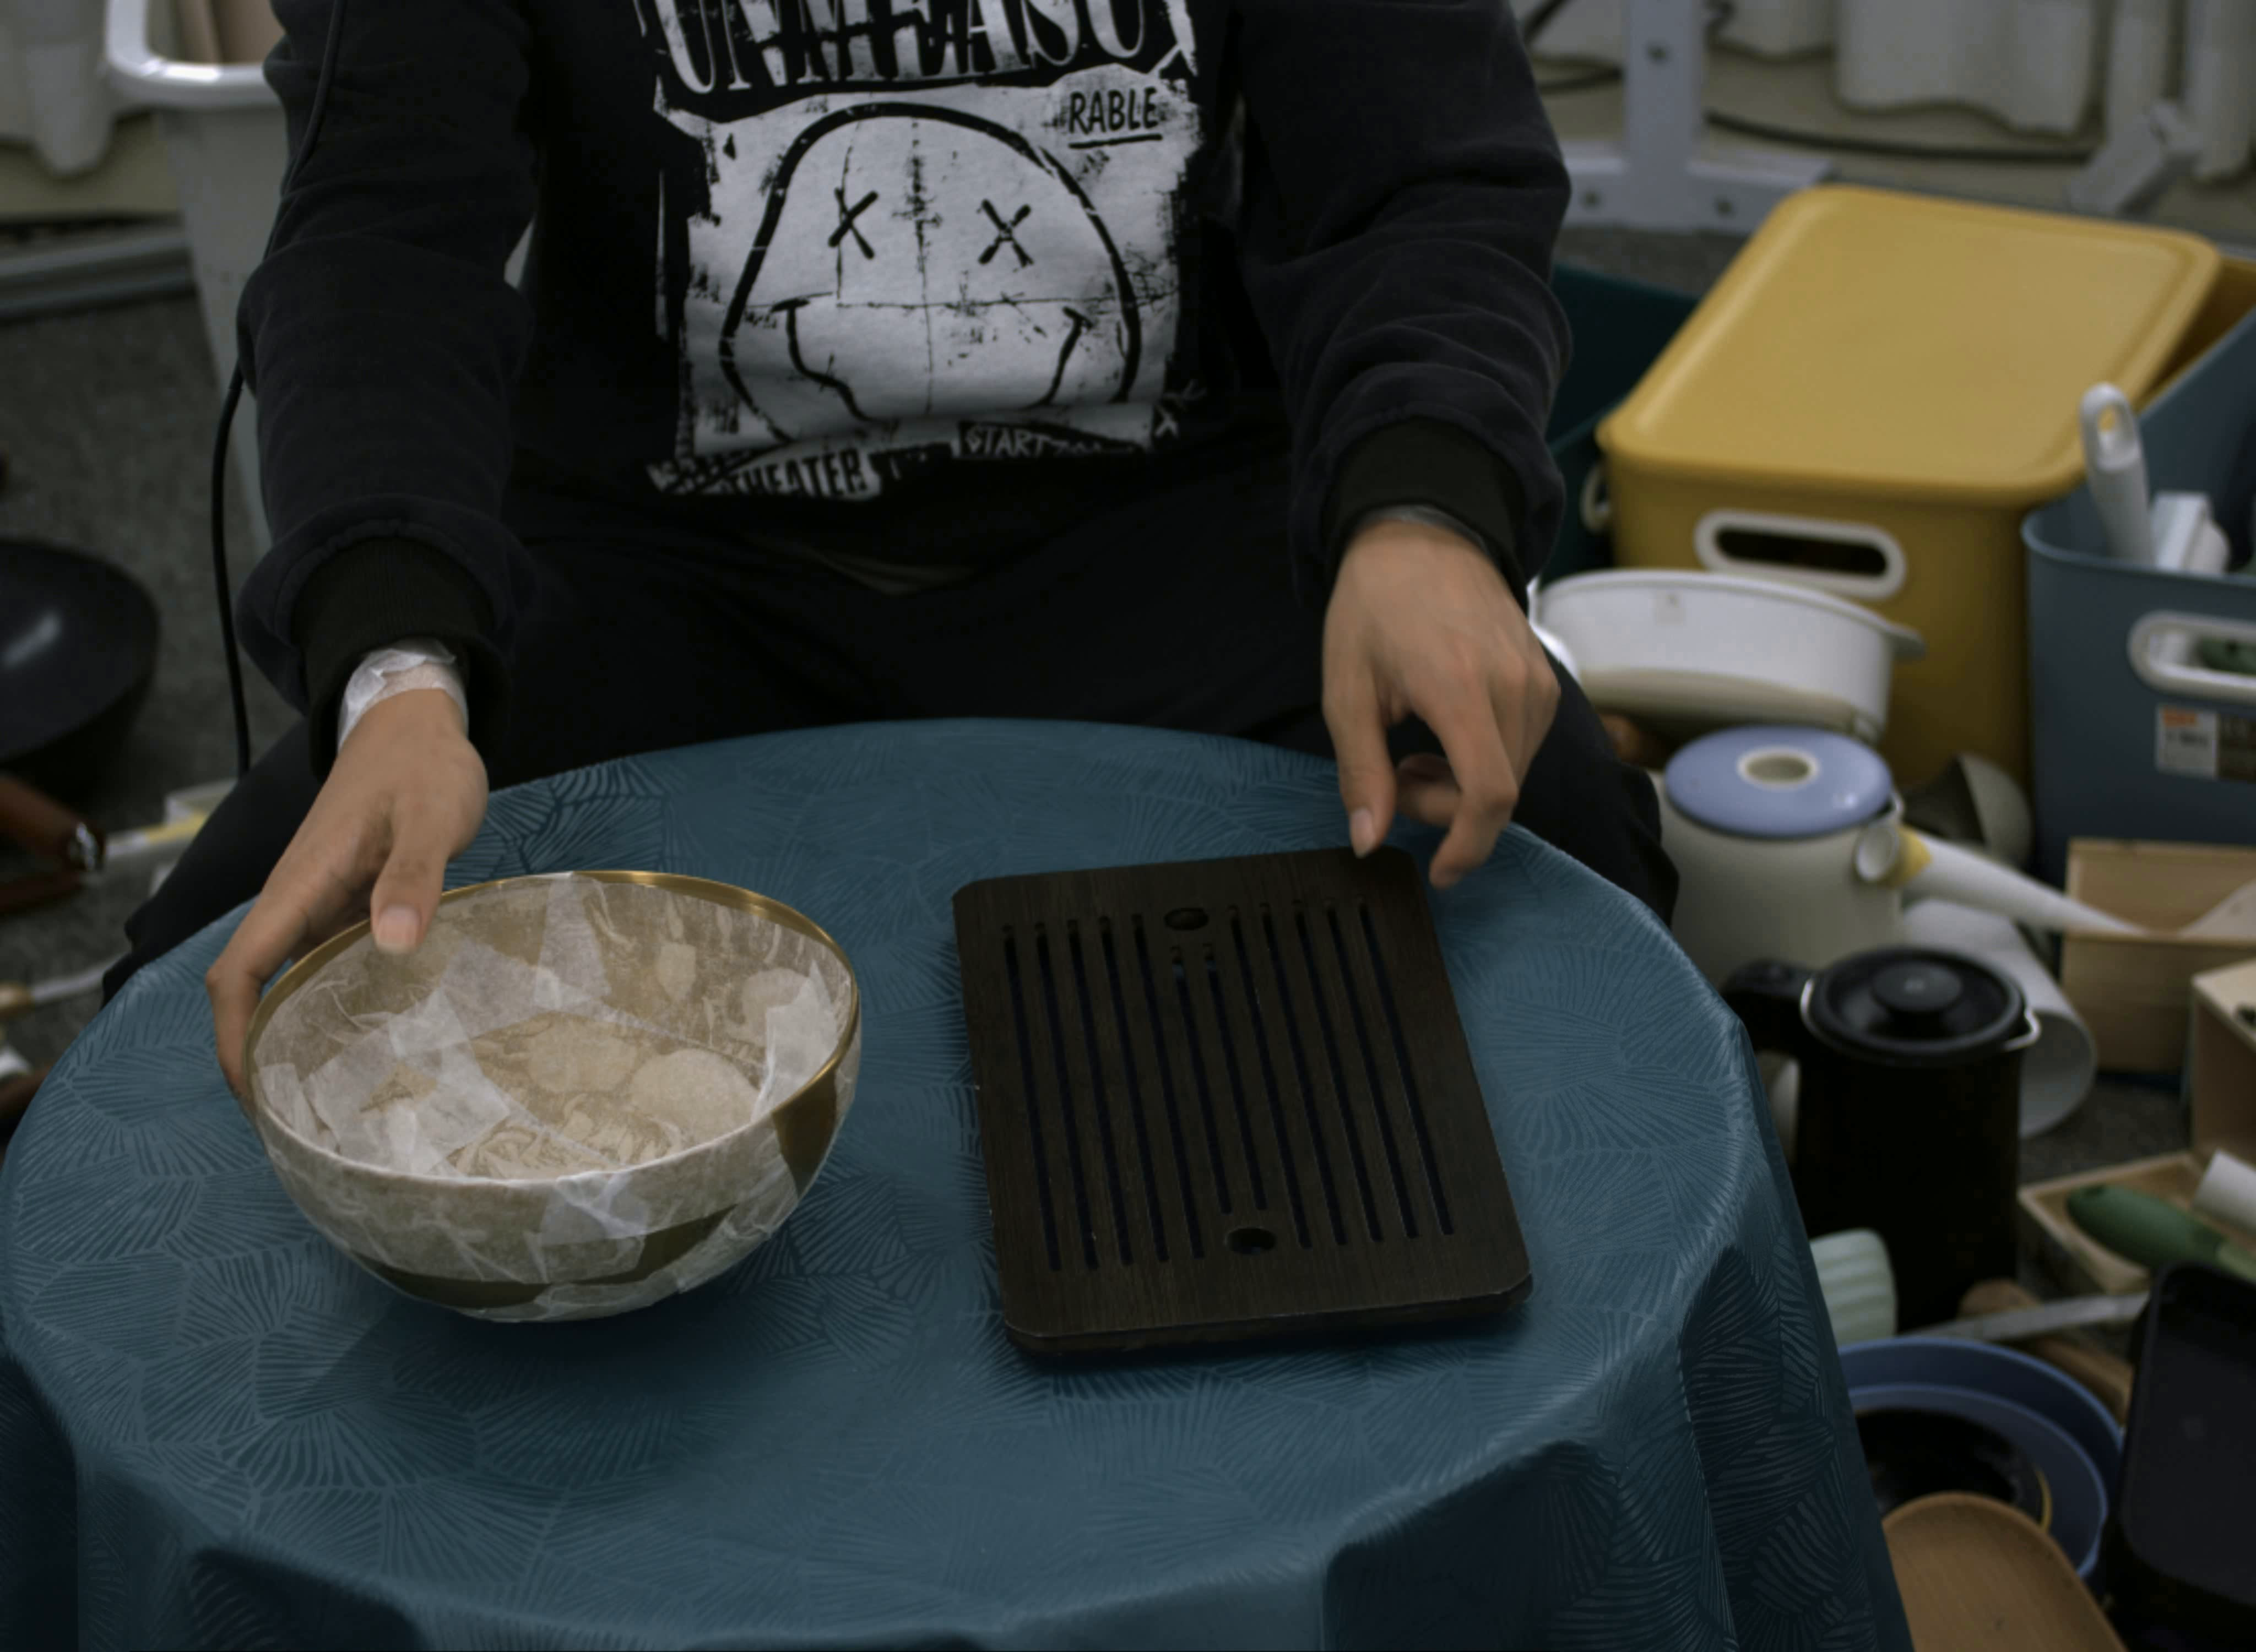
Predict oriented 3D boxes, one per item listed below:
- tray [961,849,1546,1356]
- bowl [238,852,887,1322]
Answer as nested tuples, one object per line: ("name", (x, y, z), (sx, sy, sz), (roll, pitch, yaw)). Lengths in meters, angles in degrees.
("tray", (0.036, 0.091, 1.898), (0.169, 0.018, 0.310), (-5, 27, -3))
("bowl", (-0.179, 0.098, 1.824), (0.213, 0.093, 0.218), (-3, 27, 2))
